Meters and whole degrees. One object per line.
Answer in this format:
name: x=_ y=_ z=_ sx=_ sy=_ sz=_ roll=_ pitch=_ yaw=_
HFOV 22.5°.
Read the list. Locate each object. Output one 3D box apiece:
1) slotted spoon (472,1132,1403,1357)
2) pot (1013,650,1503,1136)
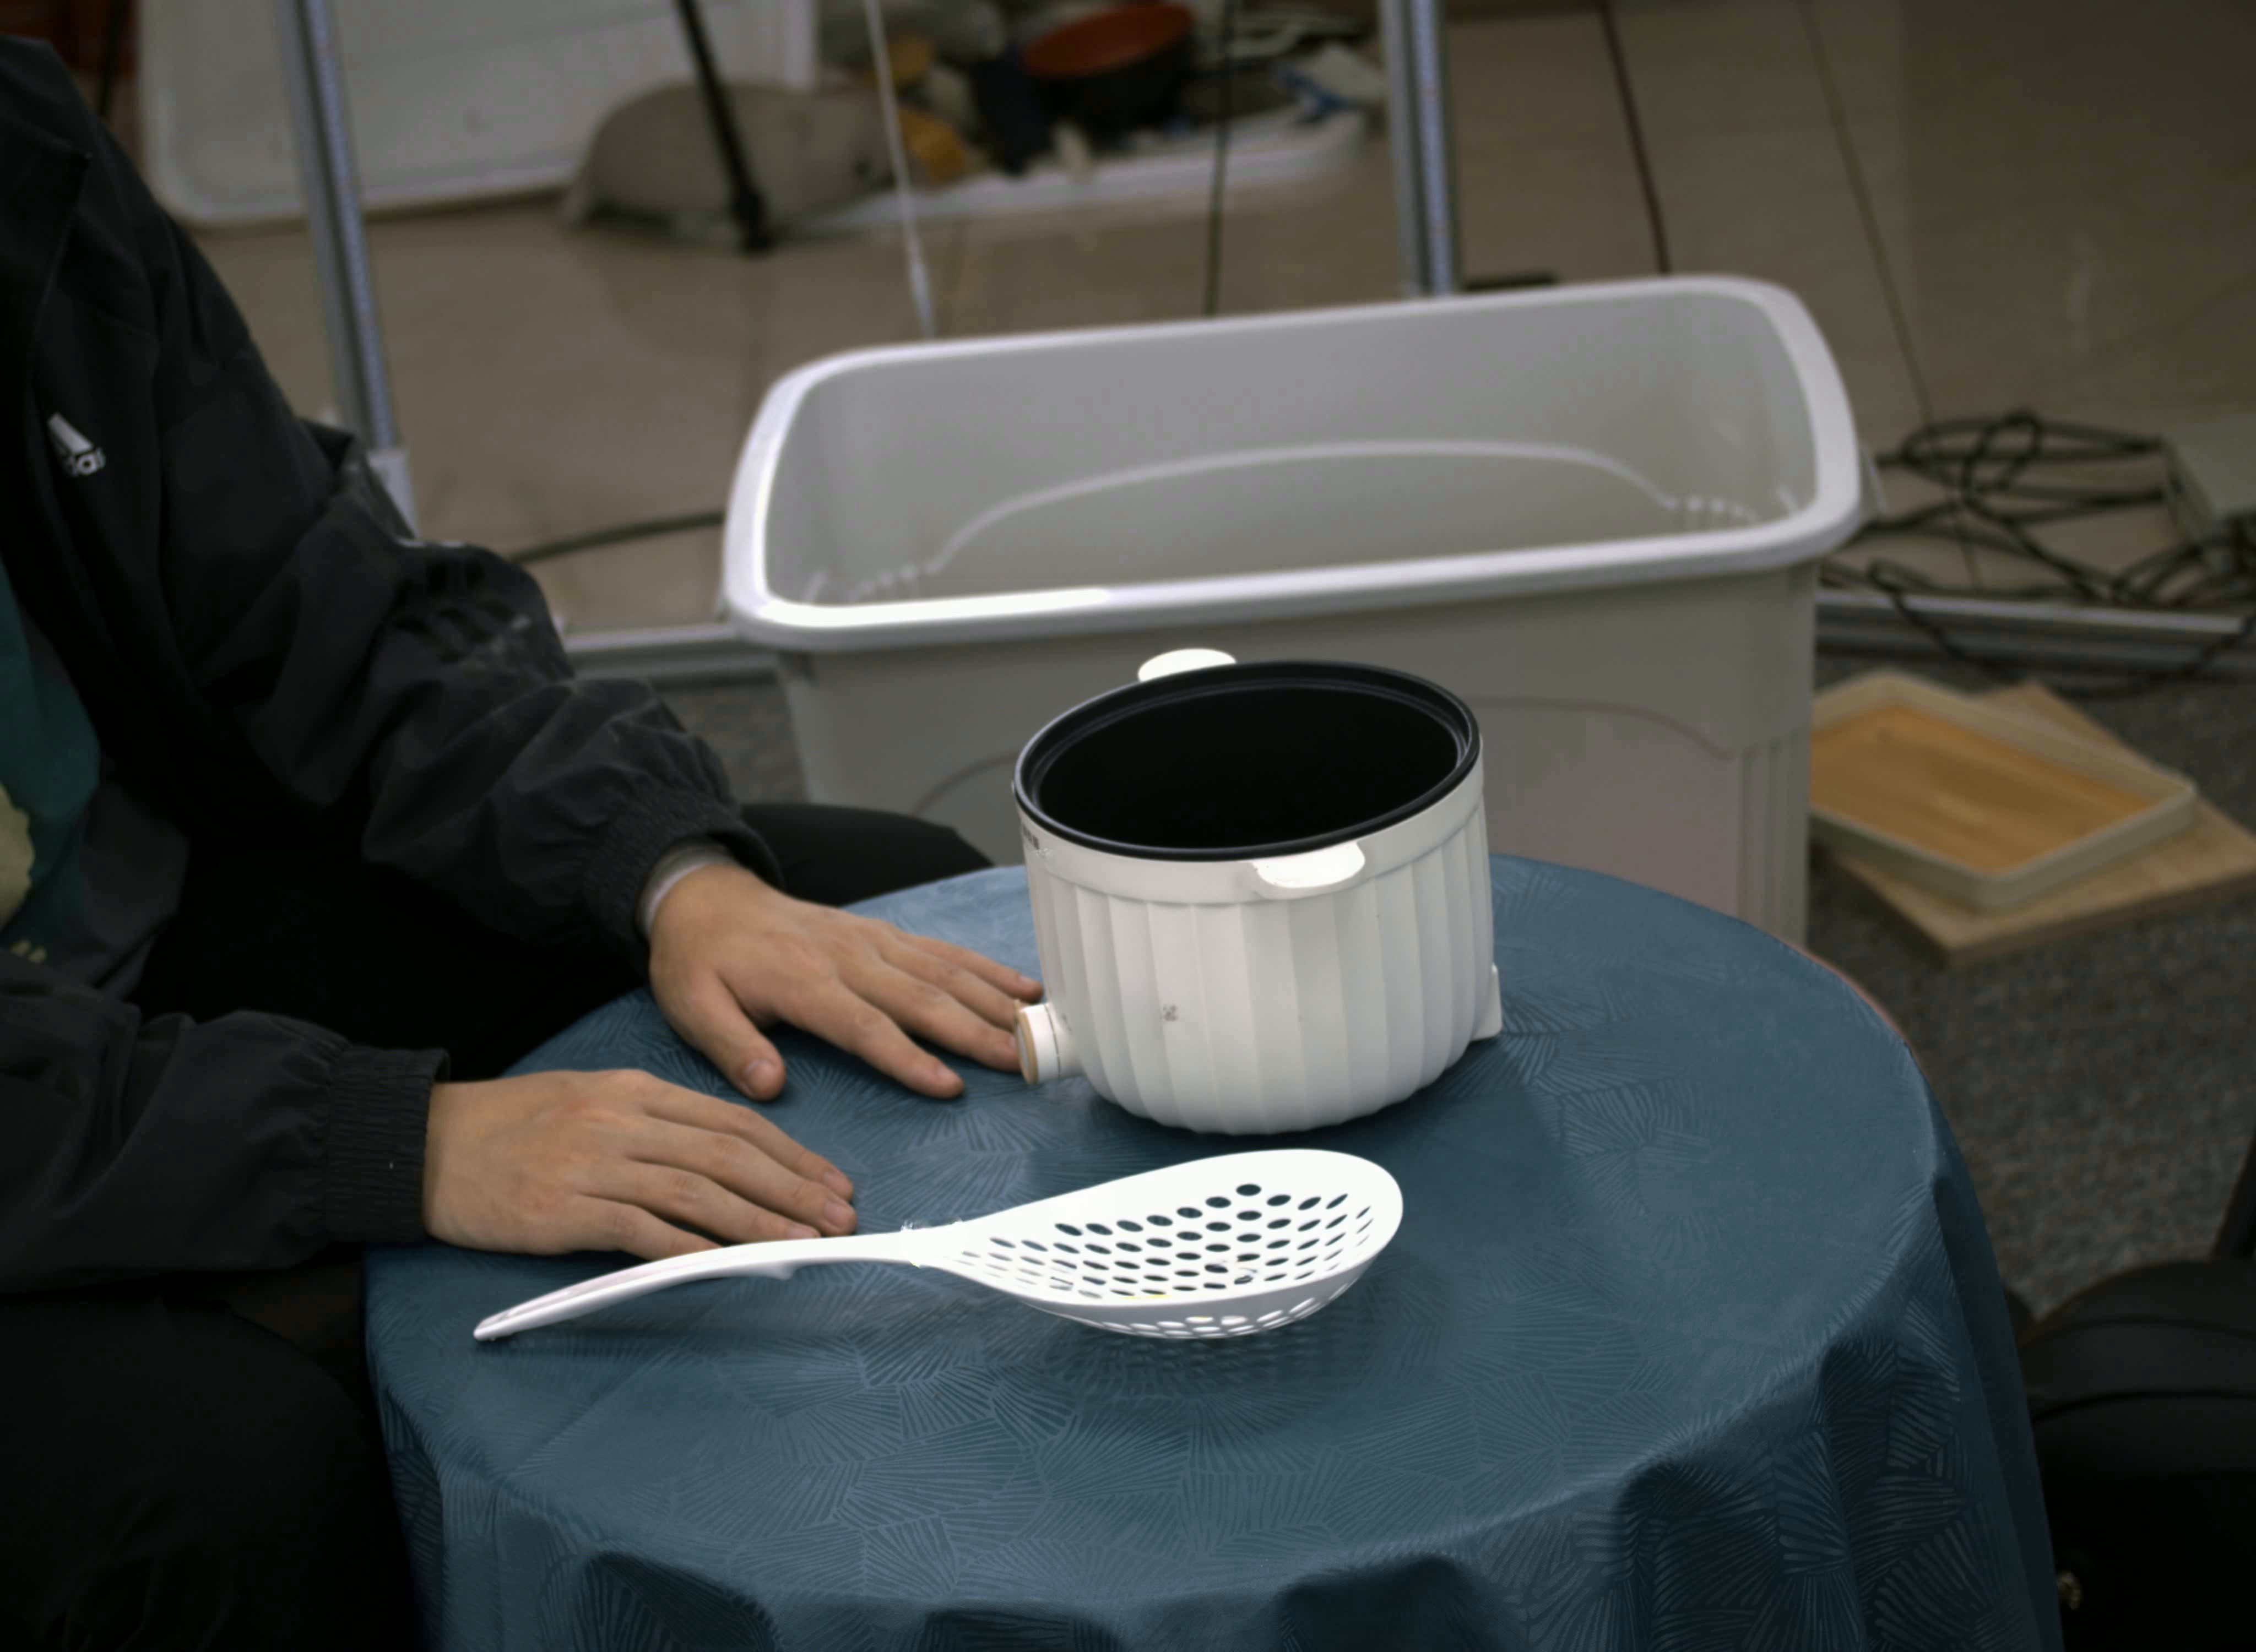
slotted spoon: x=-0.072 y=0.162 z=2.063 sx=0.347 sy=0.051 sz=0.135 roll=-2 pitch=20 yaw=10
pot: x=0.048 y=0.033 z=2.196 sx=0.190 sy=0.145 sz=0.237 roll=-8 pitch=24 yaw=-11
